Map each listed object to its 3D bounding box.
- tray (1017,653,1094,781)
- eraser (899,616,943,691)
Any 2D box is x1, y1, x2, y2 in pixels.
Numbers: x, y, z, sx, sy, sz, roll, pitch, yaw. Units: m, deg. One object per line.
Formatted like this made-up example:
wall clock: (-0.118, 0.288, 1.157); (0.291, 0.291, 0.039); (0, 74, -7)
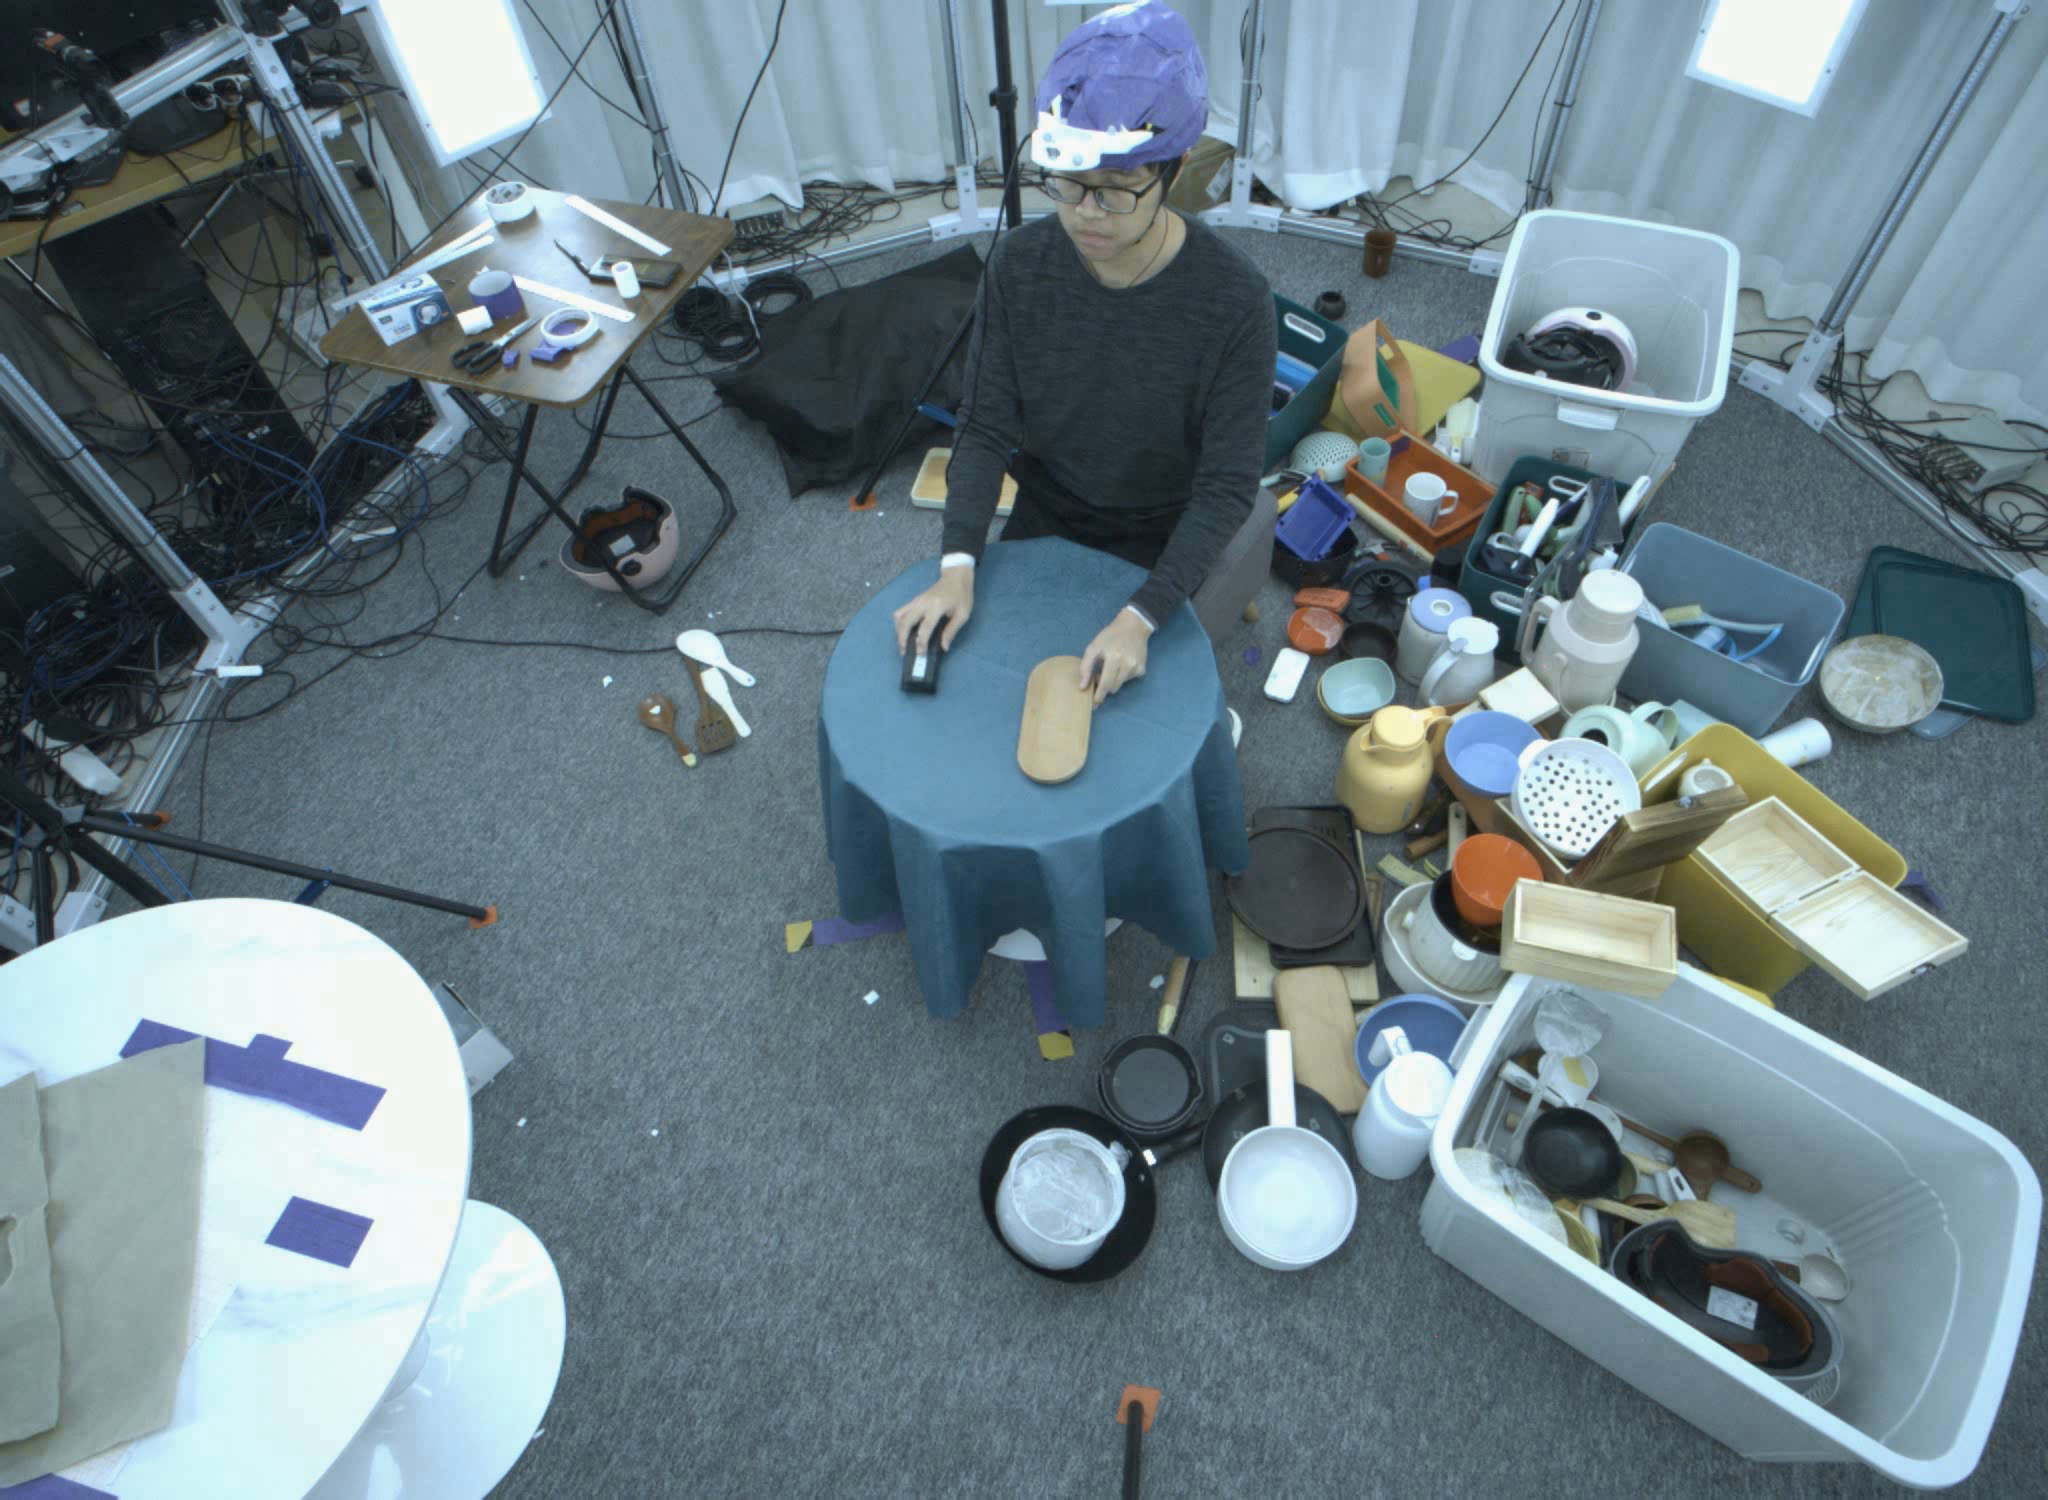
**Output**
tray: (0.048, -0.051, 1.807); (0.101, 0.020, 0.229); (1, 53, 9)
eraser: (-0.157, -0.147, 1.869); (0.053, 0.030, 0.124); (4, 57, -1)
